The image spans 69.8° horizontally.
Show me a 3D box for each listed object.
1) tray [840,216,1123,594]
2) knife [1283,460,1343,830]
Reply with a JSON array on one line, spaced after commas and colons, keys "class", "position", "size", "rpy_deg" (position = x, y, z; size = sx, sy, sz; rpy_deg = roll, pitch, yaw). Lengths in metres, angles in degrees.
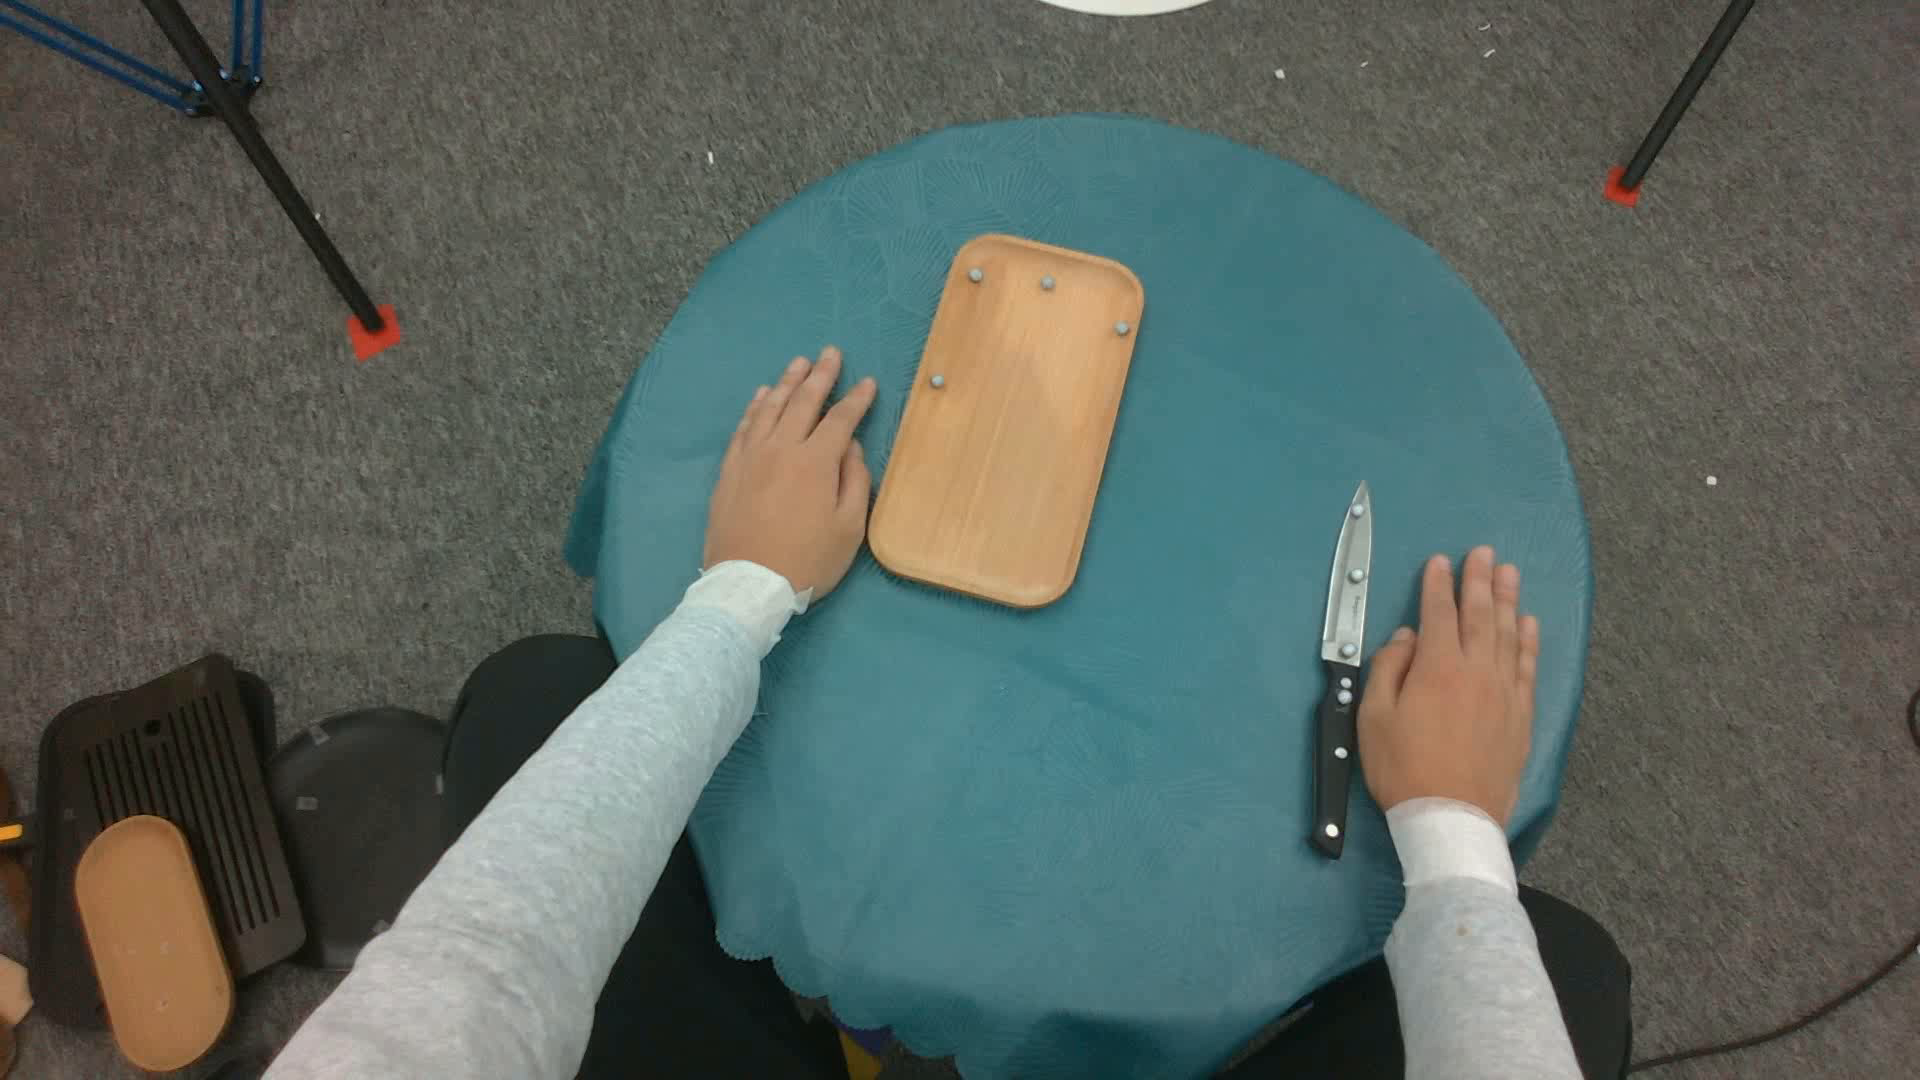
[{"class": "tray", "position": [0.017, -0.089, 0.853], "size": [0.130, 0.023, 0.251], "rpy_deg": [14, 67, 6]}, {"class": "knife", "position": [0.210, 0.055, 0.804], "size": [0.024, 0.016, 0.239], "rpy_deg": [12, 63, 2]}]
